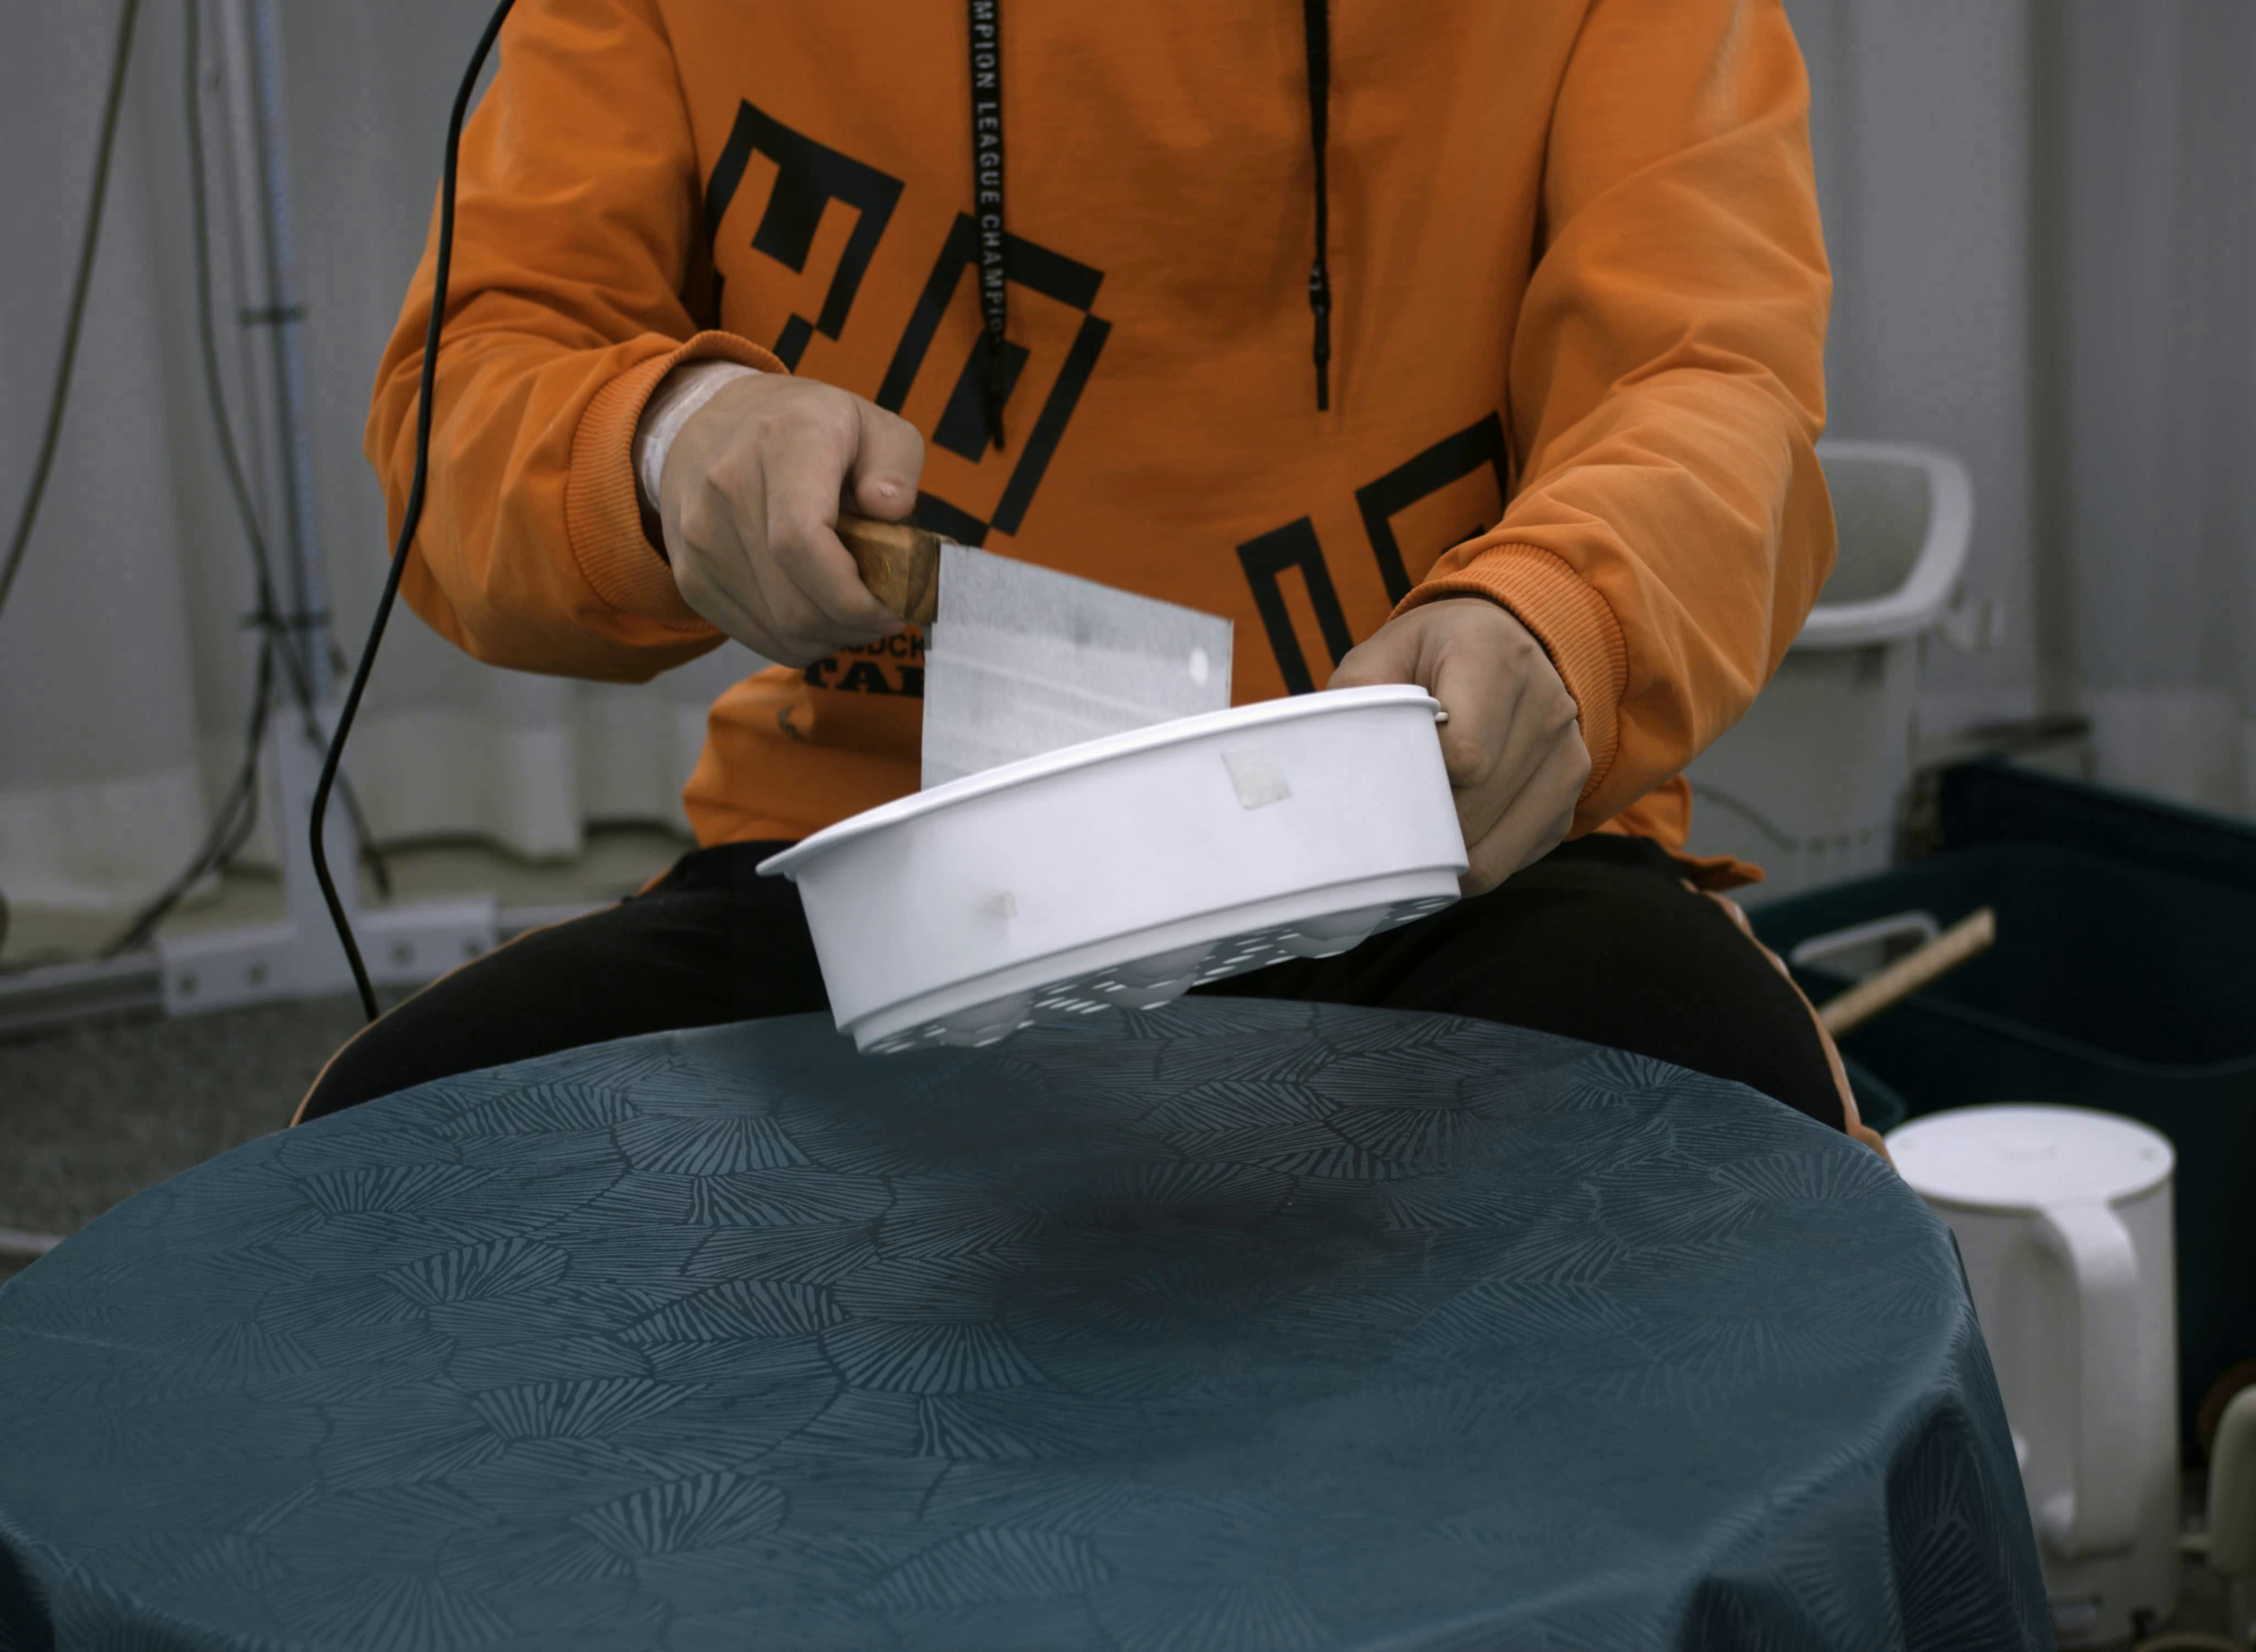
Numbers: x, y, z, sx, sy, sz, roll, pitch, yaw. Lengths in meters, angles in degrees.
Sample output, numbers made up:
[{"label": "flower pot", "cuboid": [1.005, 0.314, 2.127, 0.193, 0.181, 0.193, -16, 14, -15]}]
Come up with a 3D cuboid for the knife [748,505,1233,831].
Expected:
[{"label": "knife", "cuboid": [-0.046, -0.045, 1.698, 0.021, 0.093, 0.308, -4, 11, -29]}]

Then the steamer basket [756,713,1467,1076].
[{"label": "steamer basket", "cuboid": [0.001, 0.023, 1.614, 0.230, 0.069, 0.201, -13, -2, -35]}]
